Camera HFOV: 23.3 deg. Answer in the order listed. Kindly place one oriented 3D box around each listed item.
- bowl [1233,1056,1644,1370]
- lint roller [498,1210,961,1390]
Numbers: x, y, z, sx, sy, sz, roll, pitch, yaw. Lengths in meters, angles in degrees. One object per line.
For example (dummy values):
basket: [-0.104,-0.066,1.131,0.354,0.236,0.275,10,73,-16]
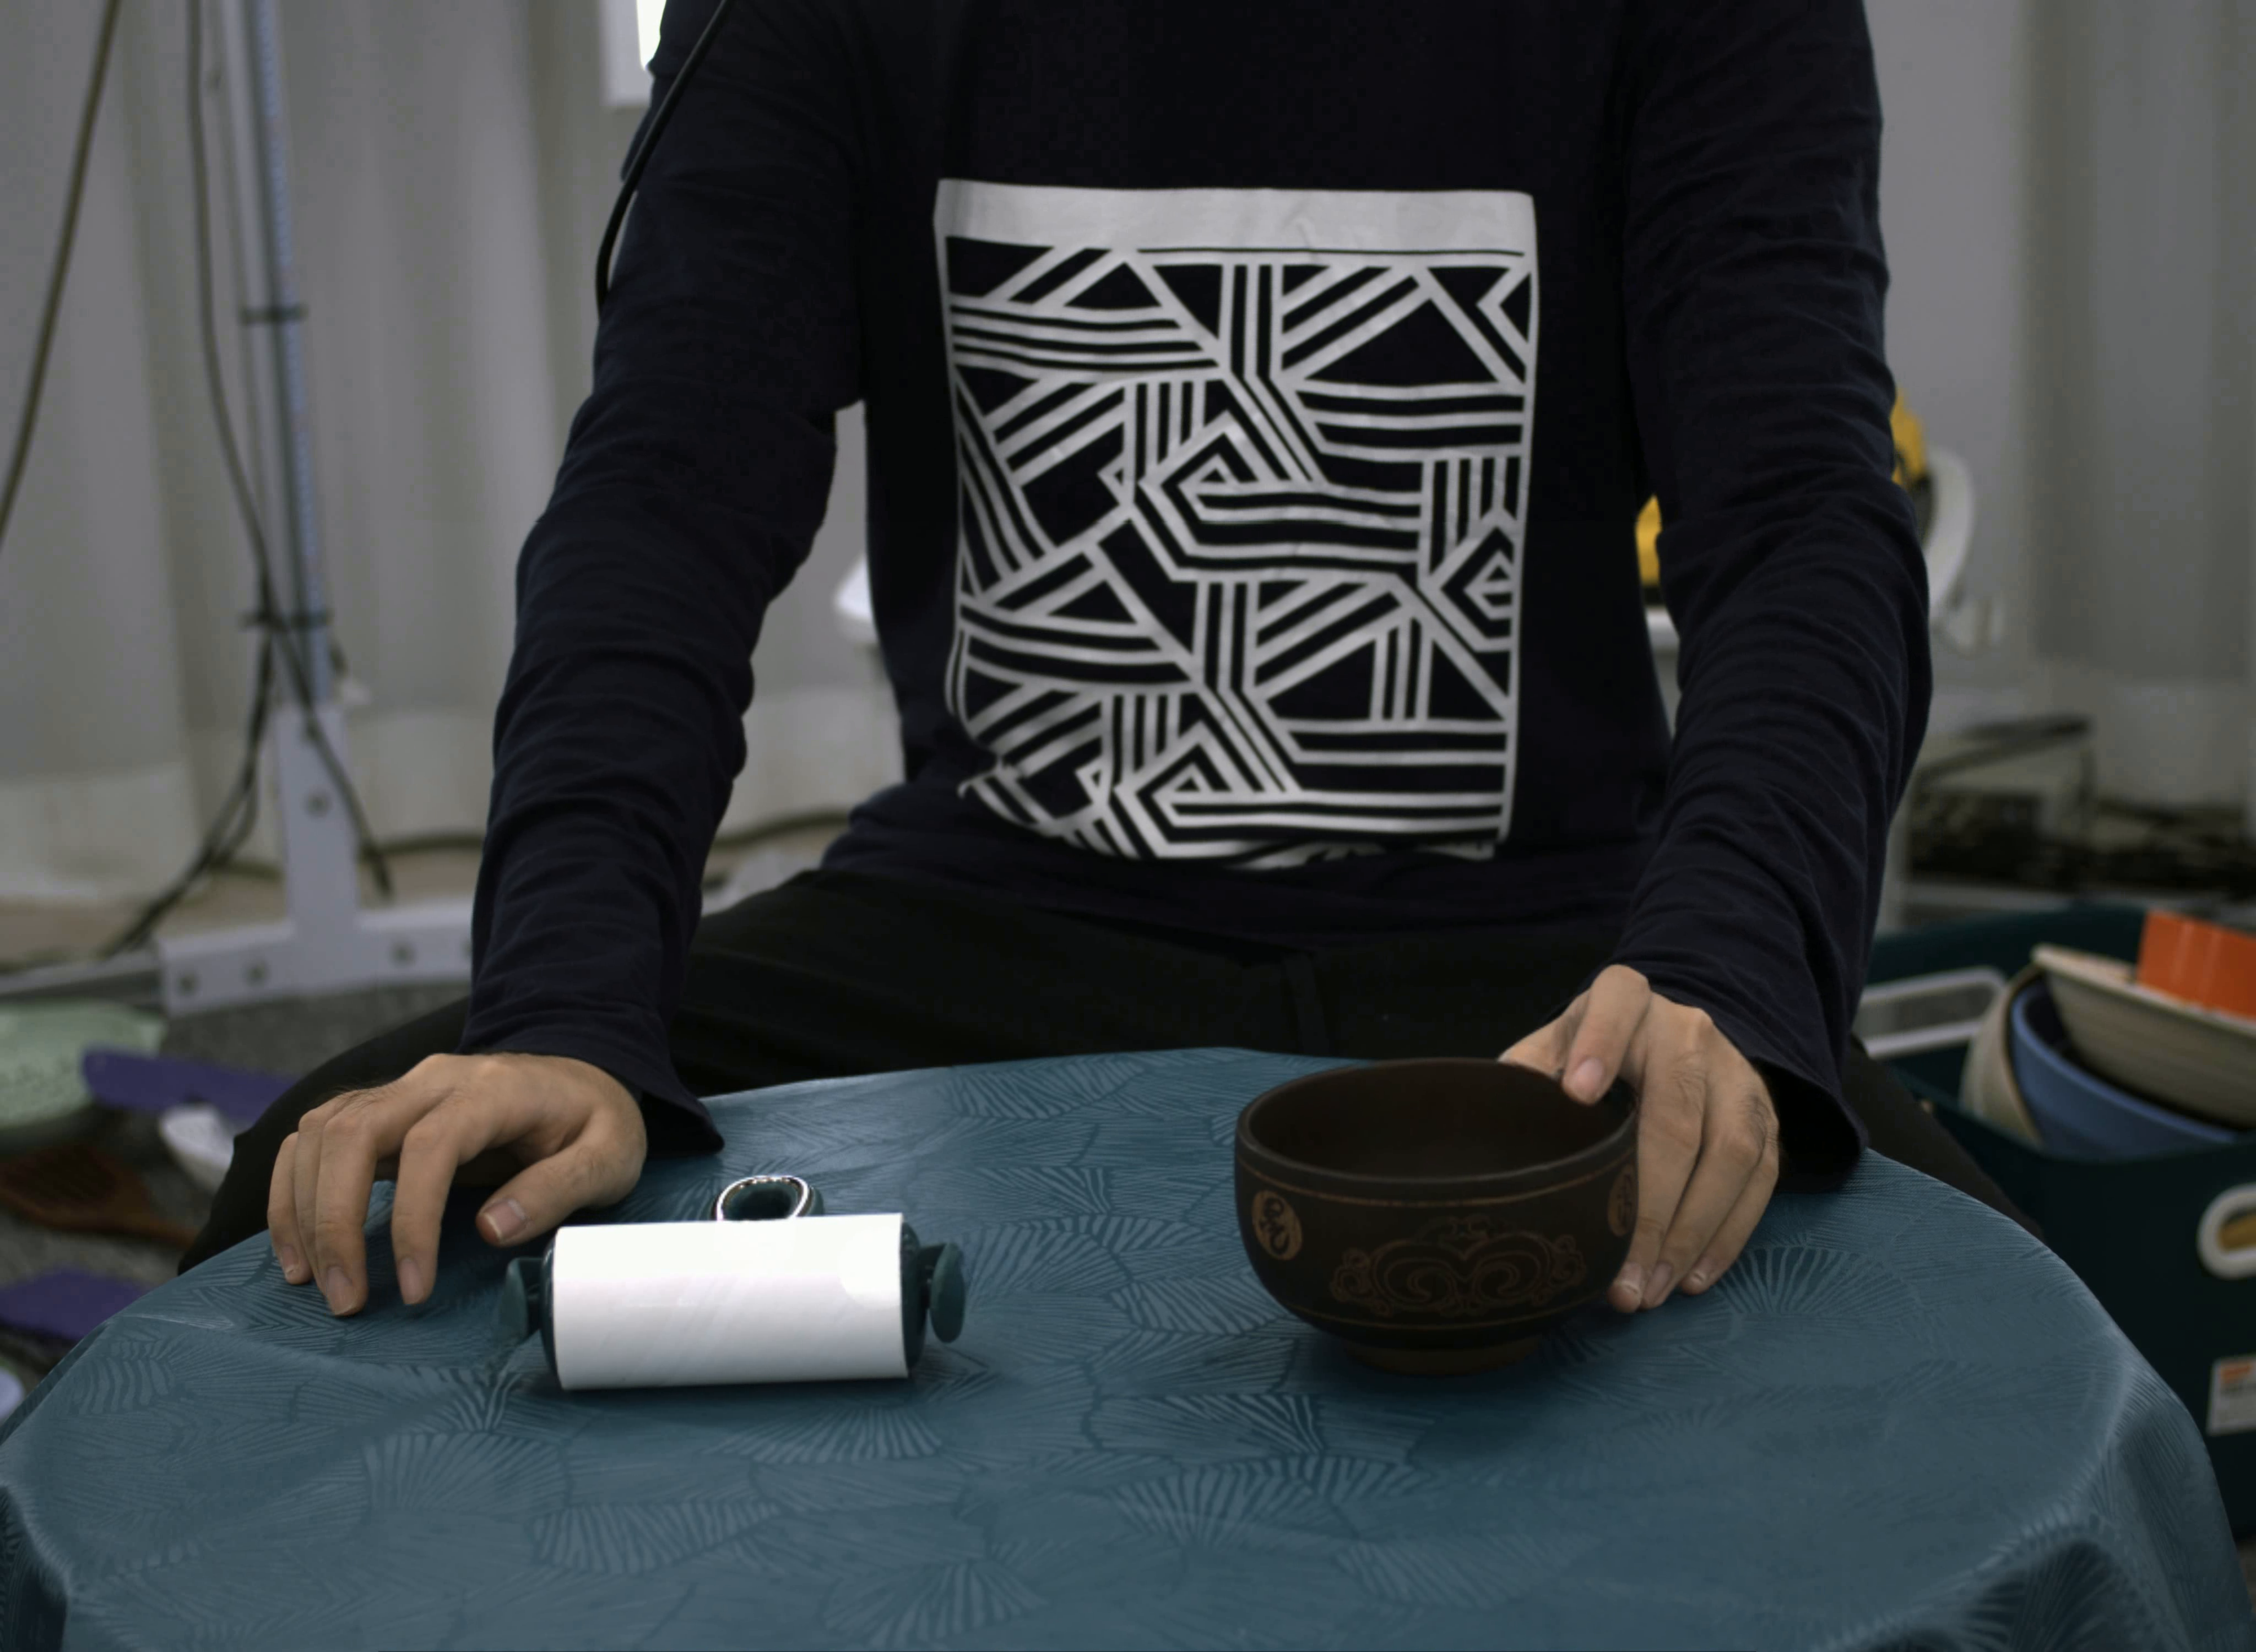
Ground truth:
bowl: [0.089,0.114,1.562,0.117,0.069,0.119,-4,12,1]
lint roller: [-0.114,0.122,1.631,0.134,0.048,0.181,-3,12,1]
